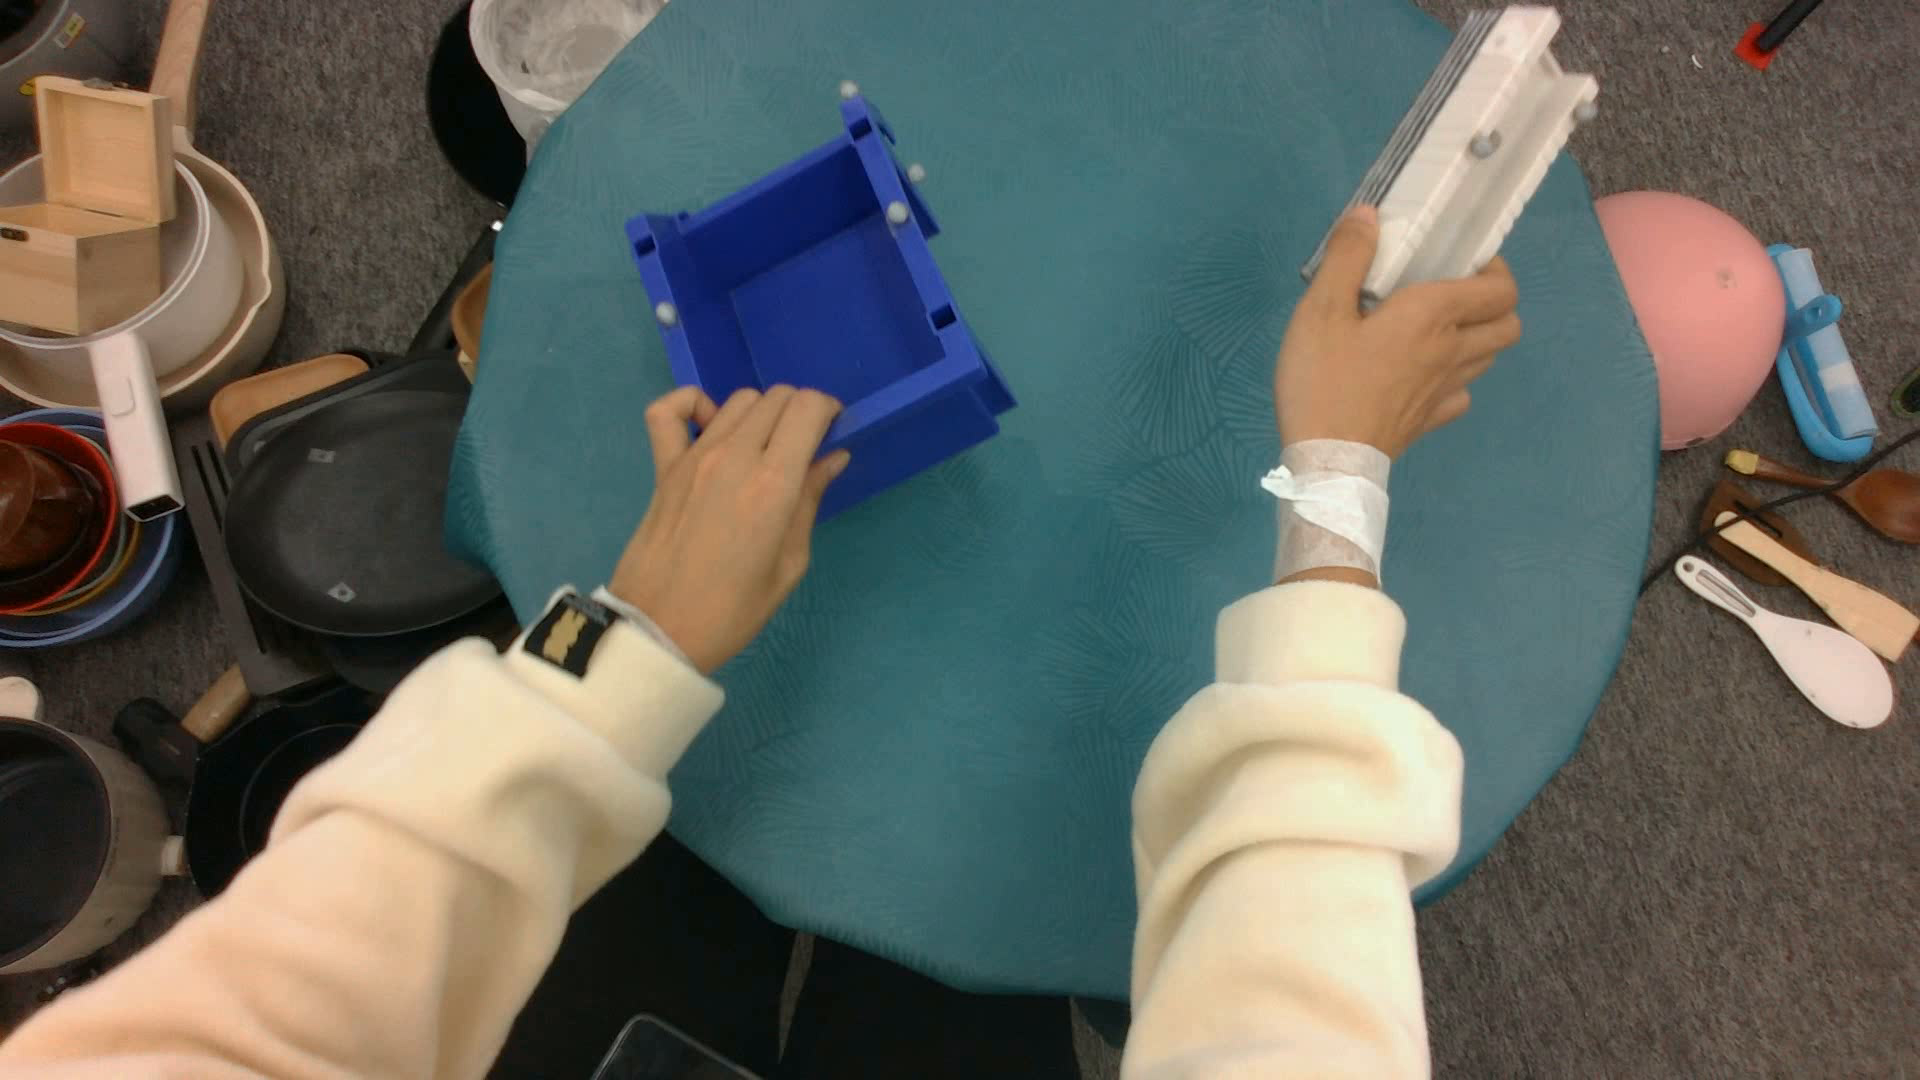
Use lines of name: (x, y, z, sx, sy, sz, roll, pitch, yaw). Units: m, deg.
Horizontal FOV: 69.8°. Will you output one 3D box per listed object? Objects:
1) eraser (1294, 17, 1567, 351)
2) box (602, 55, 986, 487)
eraser: (0.200, -0.152, 0.589, 0.050, 0.046, 0.134, 33, 85, -36)
box: (-0.077, -0.120, 0.610, 0.124, 0.082, 0.180, -24, 68, 9)
